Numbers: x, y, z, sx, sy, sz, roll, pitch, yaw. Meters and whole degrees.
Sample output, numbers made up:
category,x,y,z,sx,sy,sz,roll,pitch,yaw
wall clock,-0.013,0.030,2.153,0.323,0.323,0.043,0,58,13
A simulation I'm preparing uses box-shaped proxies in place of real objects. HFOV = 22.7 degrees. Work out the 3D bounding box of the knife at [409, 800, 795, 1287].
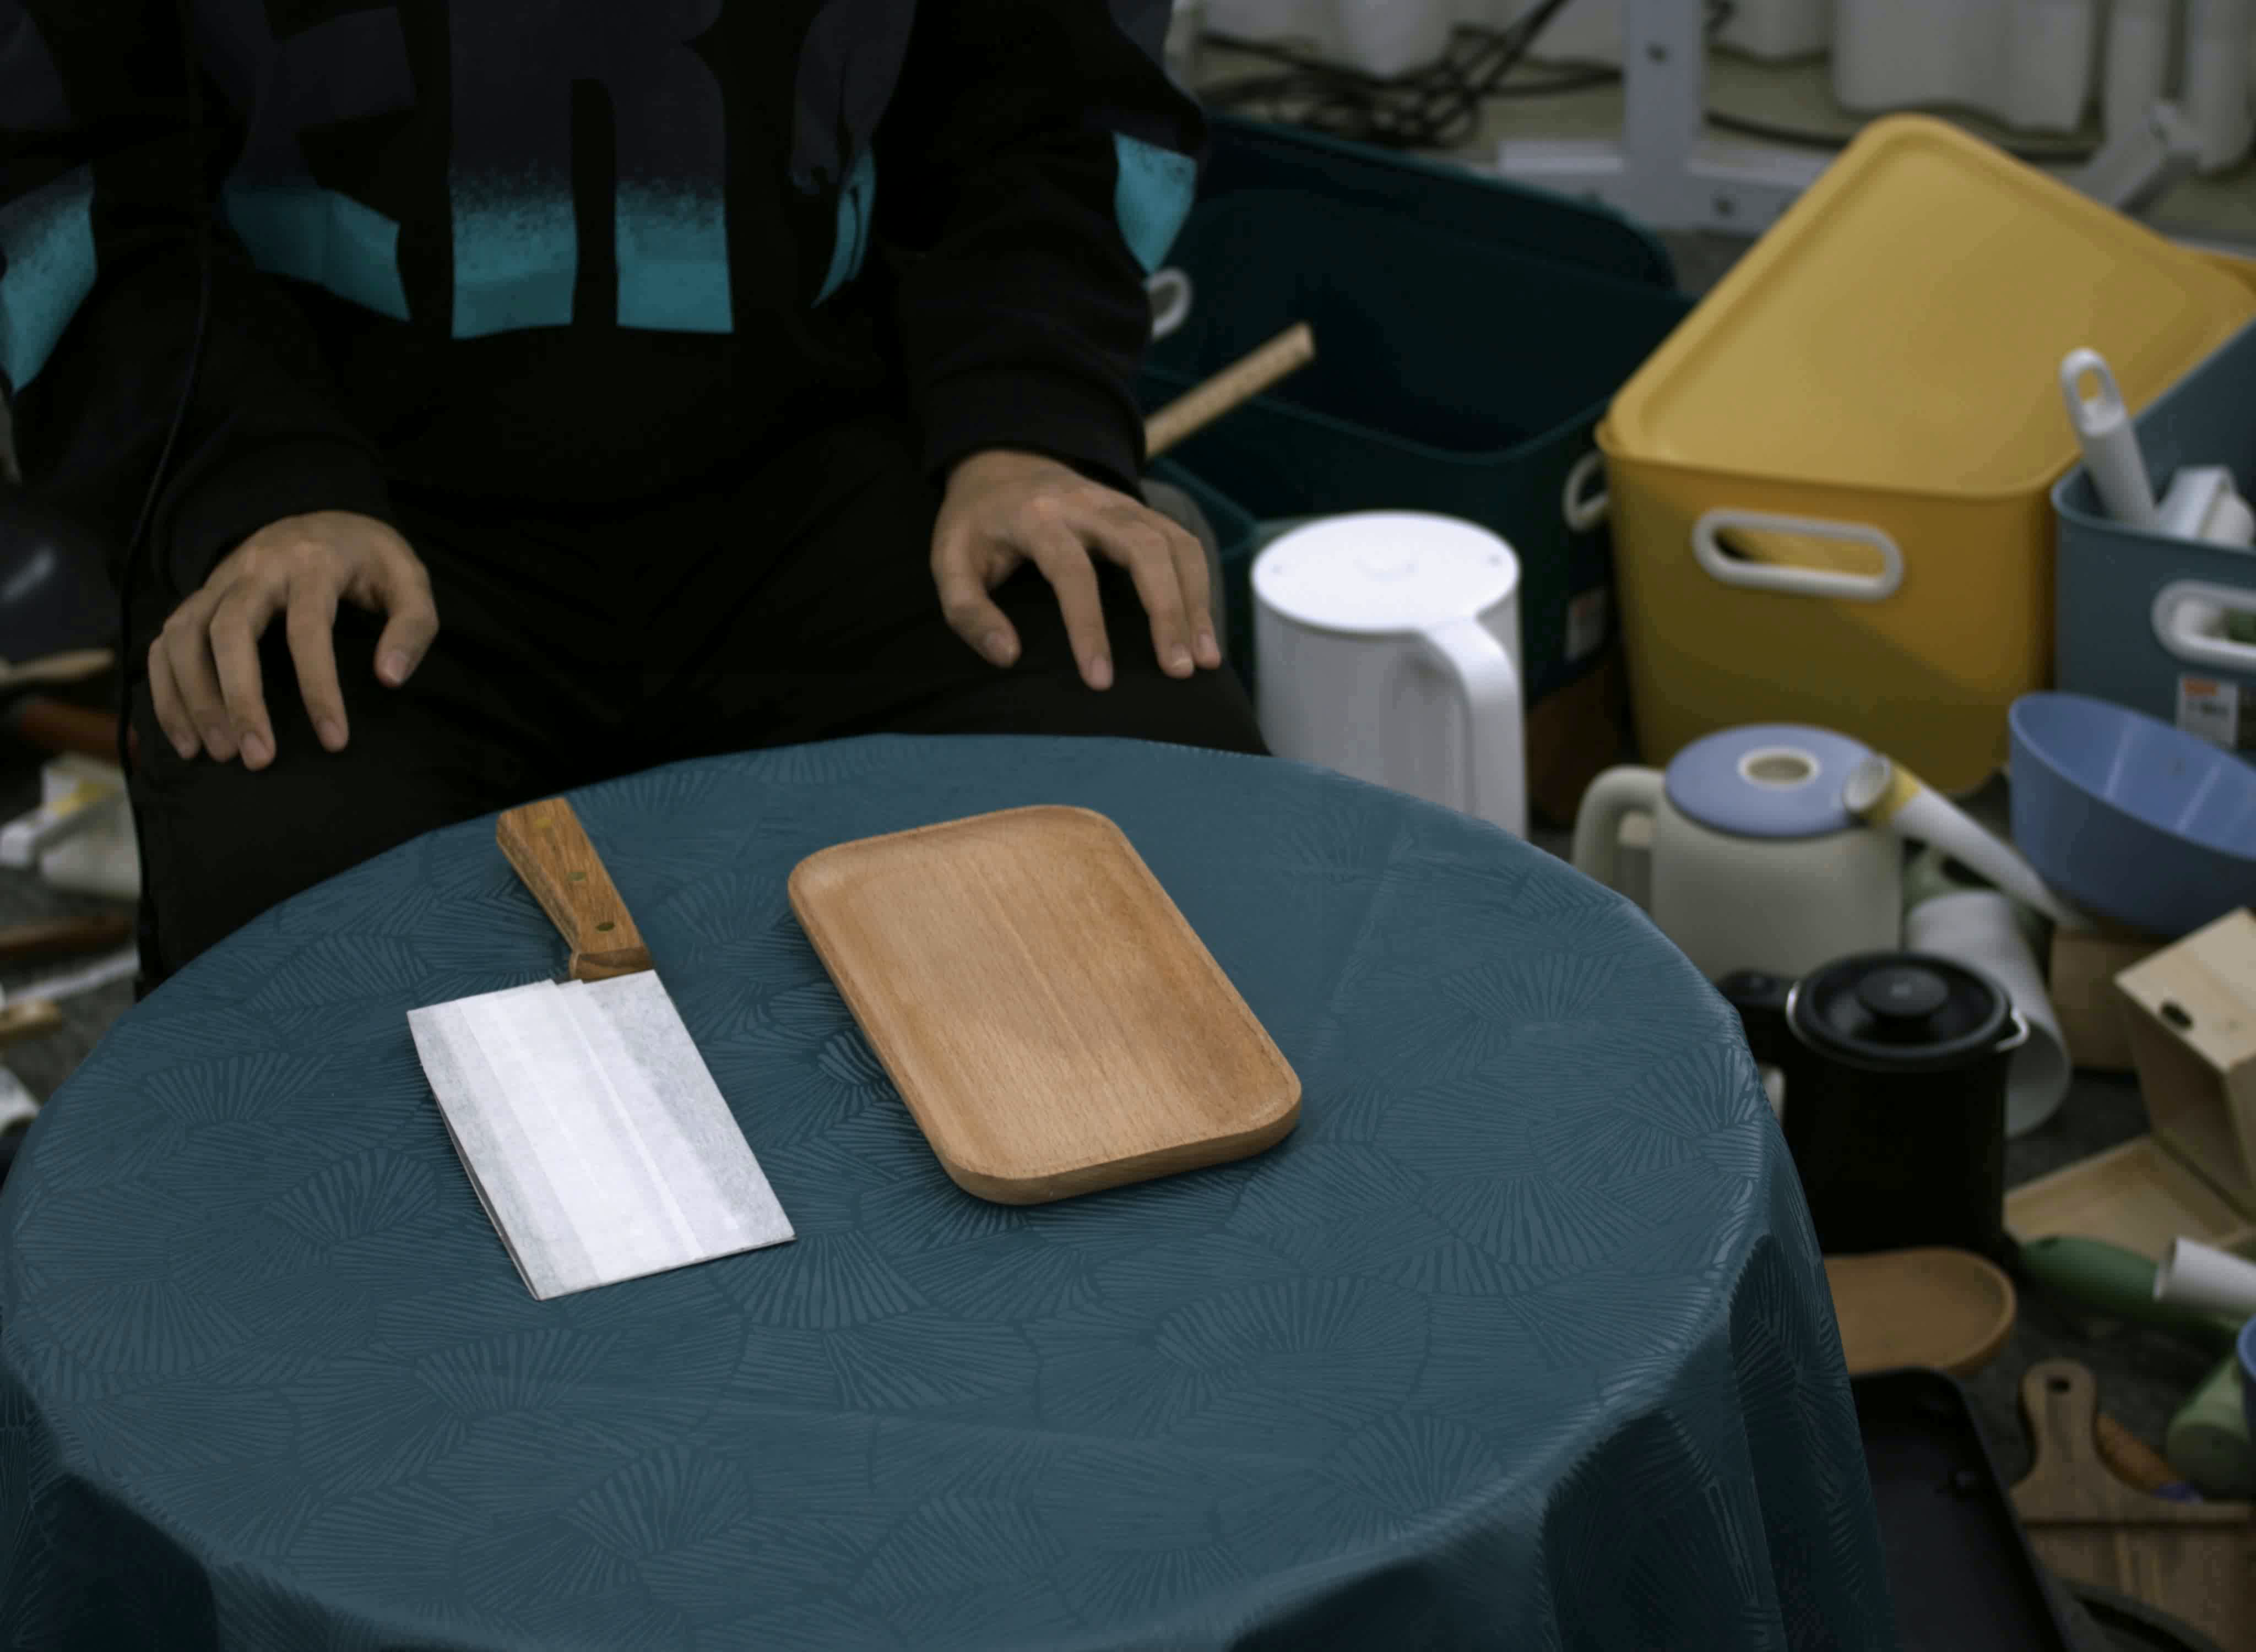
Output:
category,x,y,z,sx,sy,sz,roll,pitch,yaw
knife,-0.199,0.074,1.956,0.093,0.021,0.309,-12,31,-15

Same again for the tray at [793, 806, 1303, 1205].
category,x,y,z,sx,sy,sz,roll,pitch,yaw
tray,-0.031,0.060,1.966,0.130,0.022,0.253,-8,27,-14
